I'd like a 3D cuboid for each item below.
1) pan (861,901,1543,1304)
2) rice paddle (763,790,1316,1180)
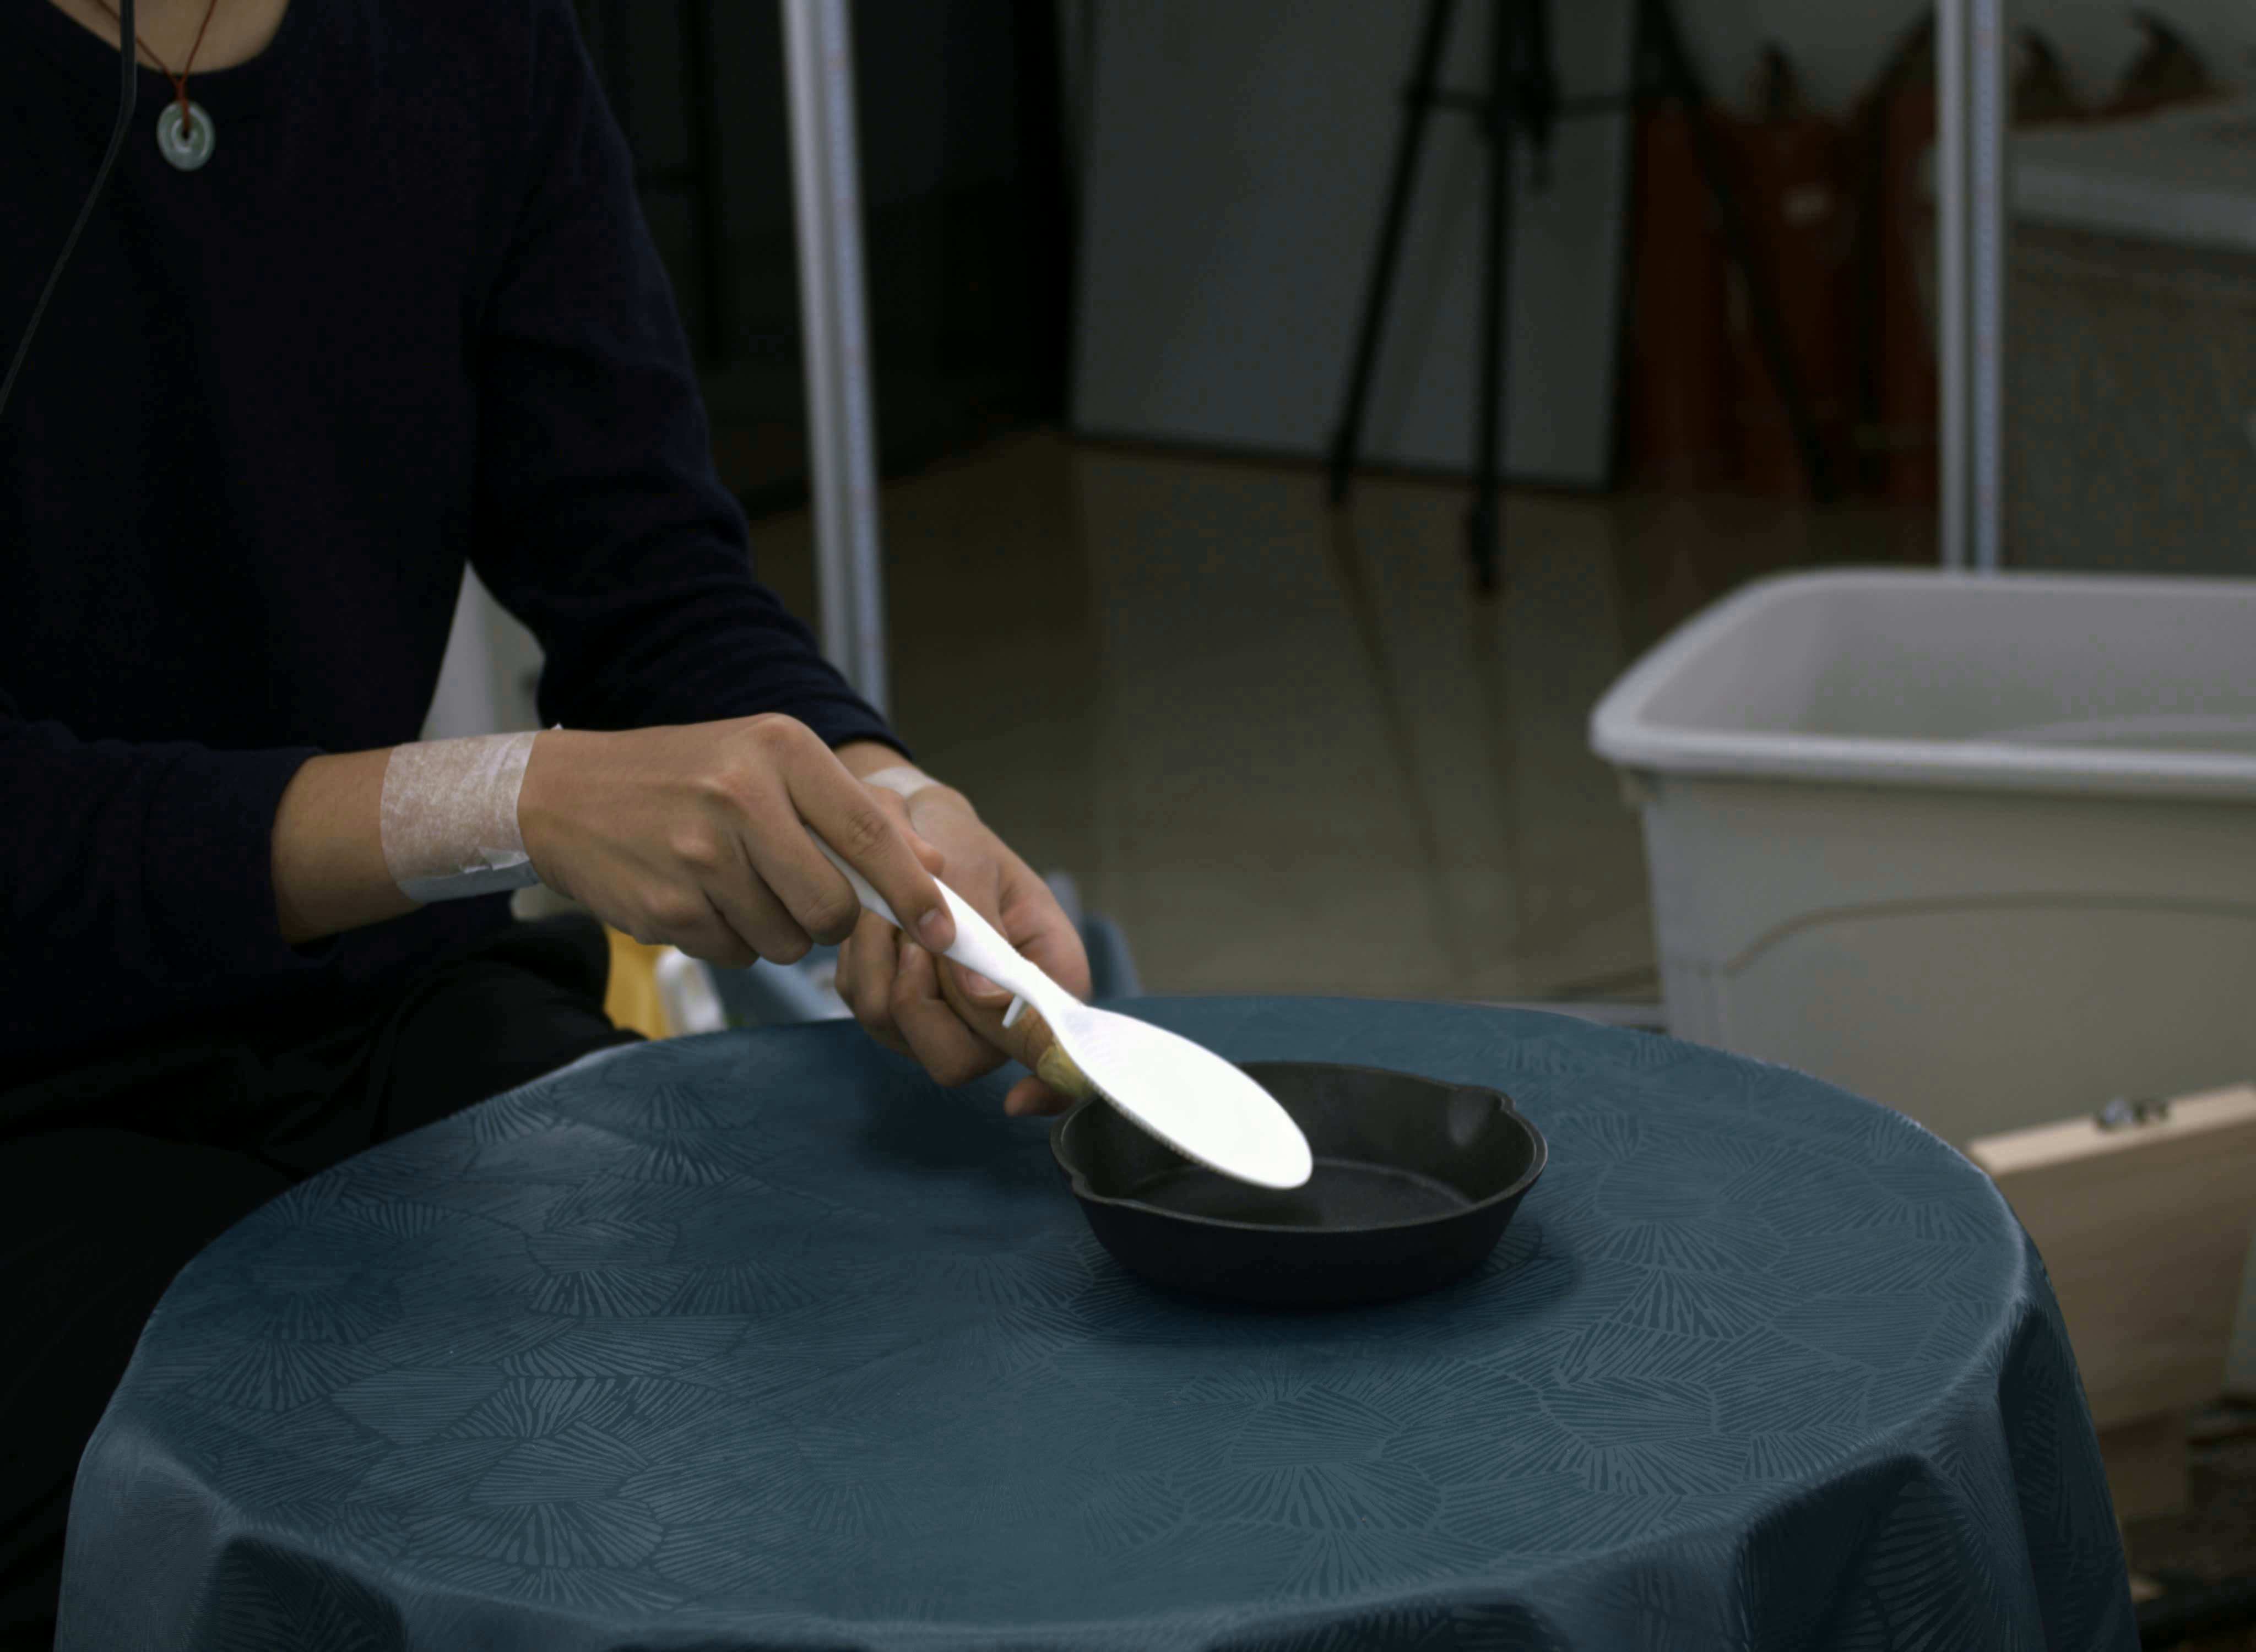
[{"bbox_3d":[0.006,0.084,1.756,0.165,0.050,0.328,-10,20,-32],"label":"pan"},{"bbox_3d":[-0.025,0.053,1.721,0.205,0.030,0.068,32,25,13],"label":"rice paddle"}]
